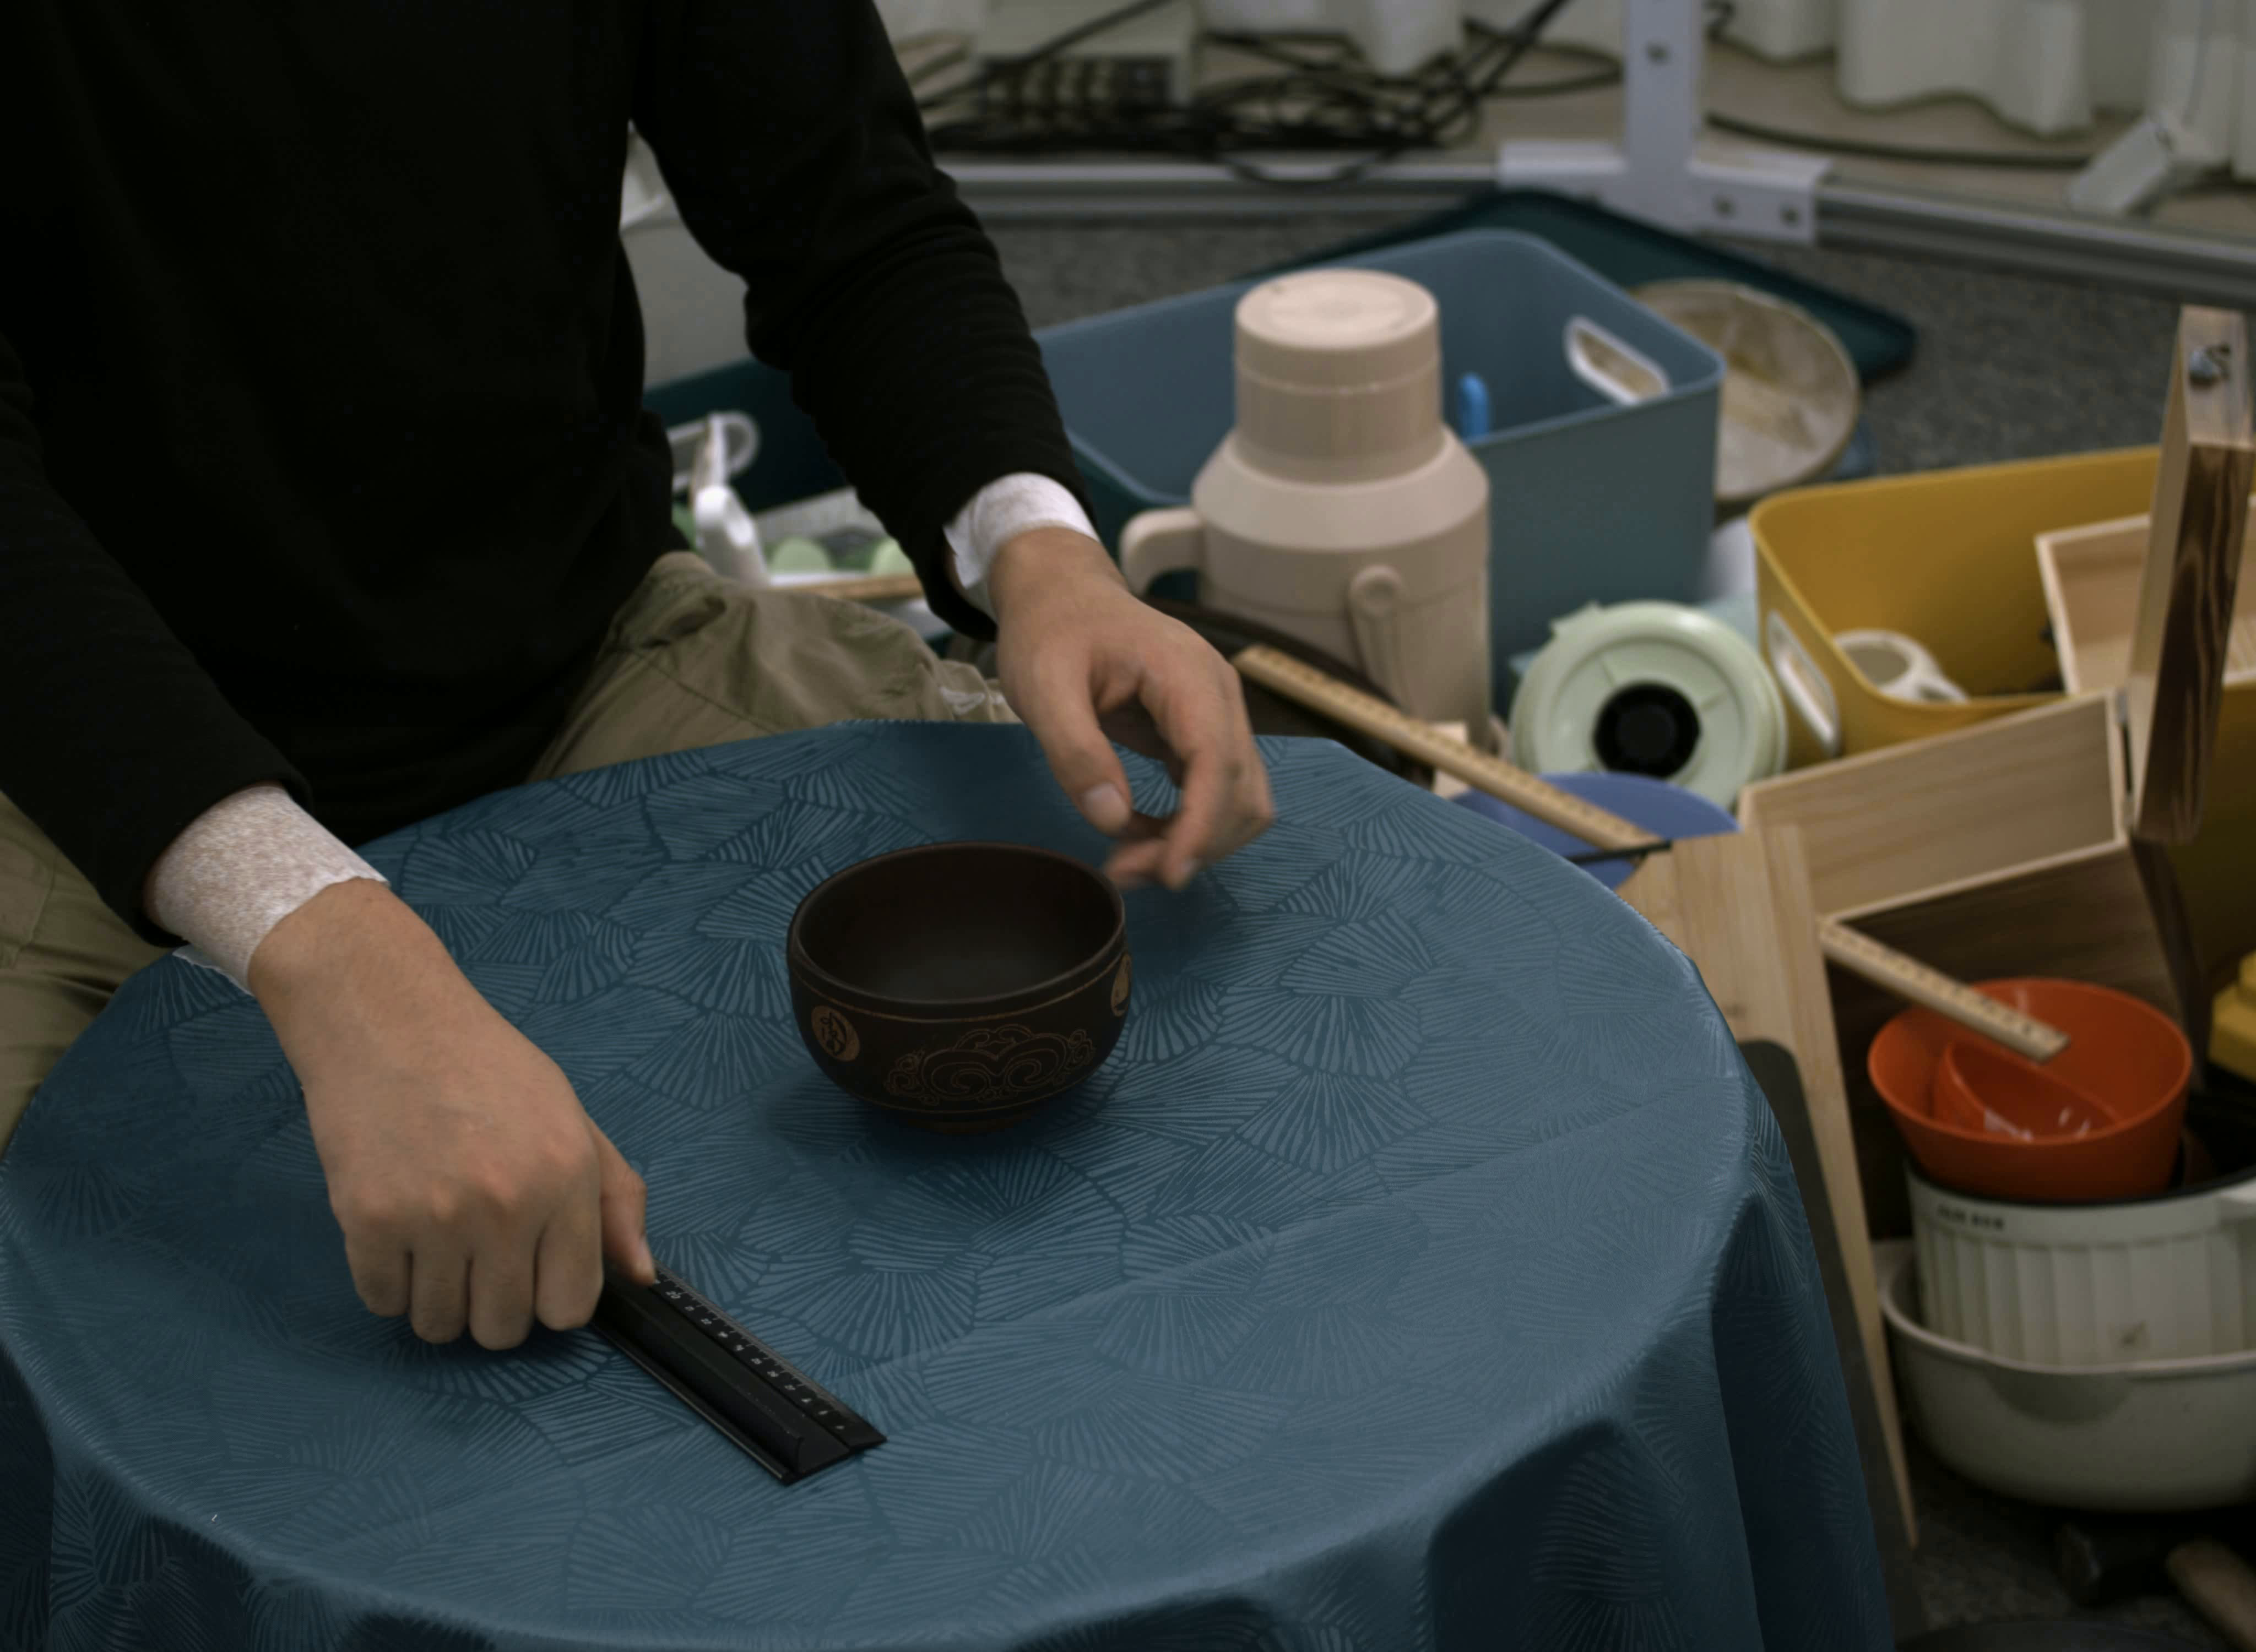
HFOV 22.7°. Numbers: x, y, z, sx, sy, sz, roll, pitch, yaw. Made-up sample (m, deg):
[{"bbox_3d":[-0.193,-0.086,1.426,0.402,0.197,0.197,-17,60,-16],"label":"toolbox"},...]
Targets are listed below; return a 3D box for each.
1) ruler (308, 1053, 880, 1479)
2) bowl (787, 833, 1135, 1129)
[{"bbox_3d":[-0.180,0.135,1.836,0.039,0.017,0.313,-16,30,-32],"label":"ruler"},{"bbox_3d":[-0.056,0.059,1.908,0.117,0.069,0.120,-1,27,1],"label":"bowl"}]
